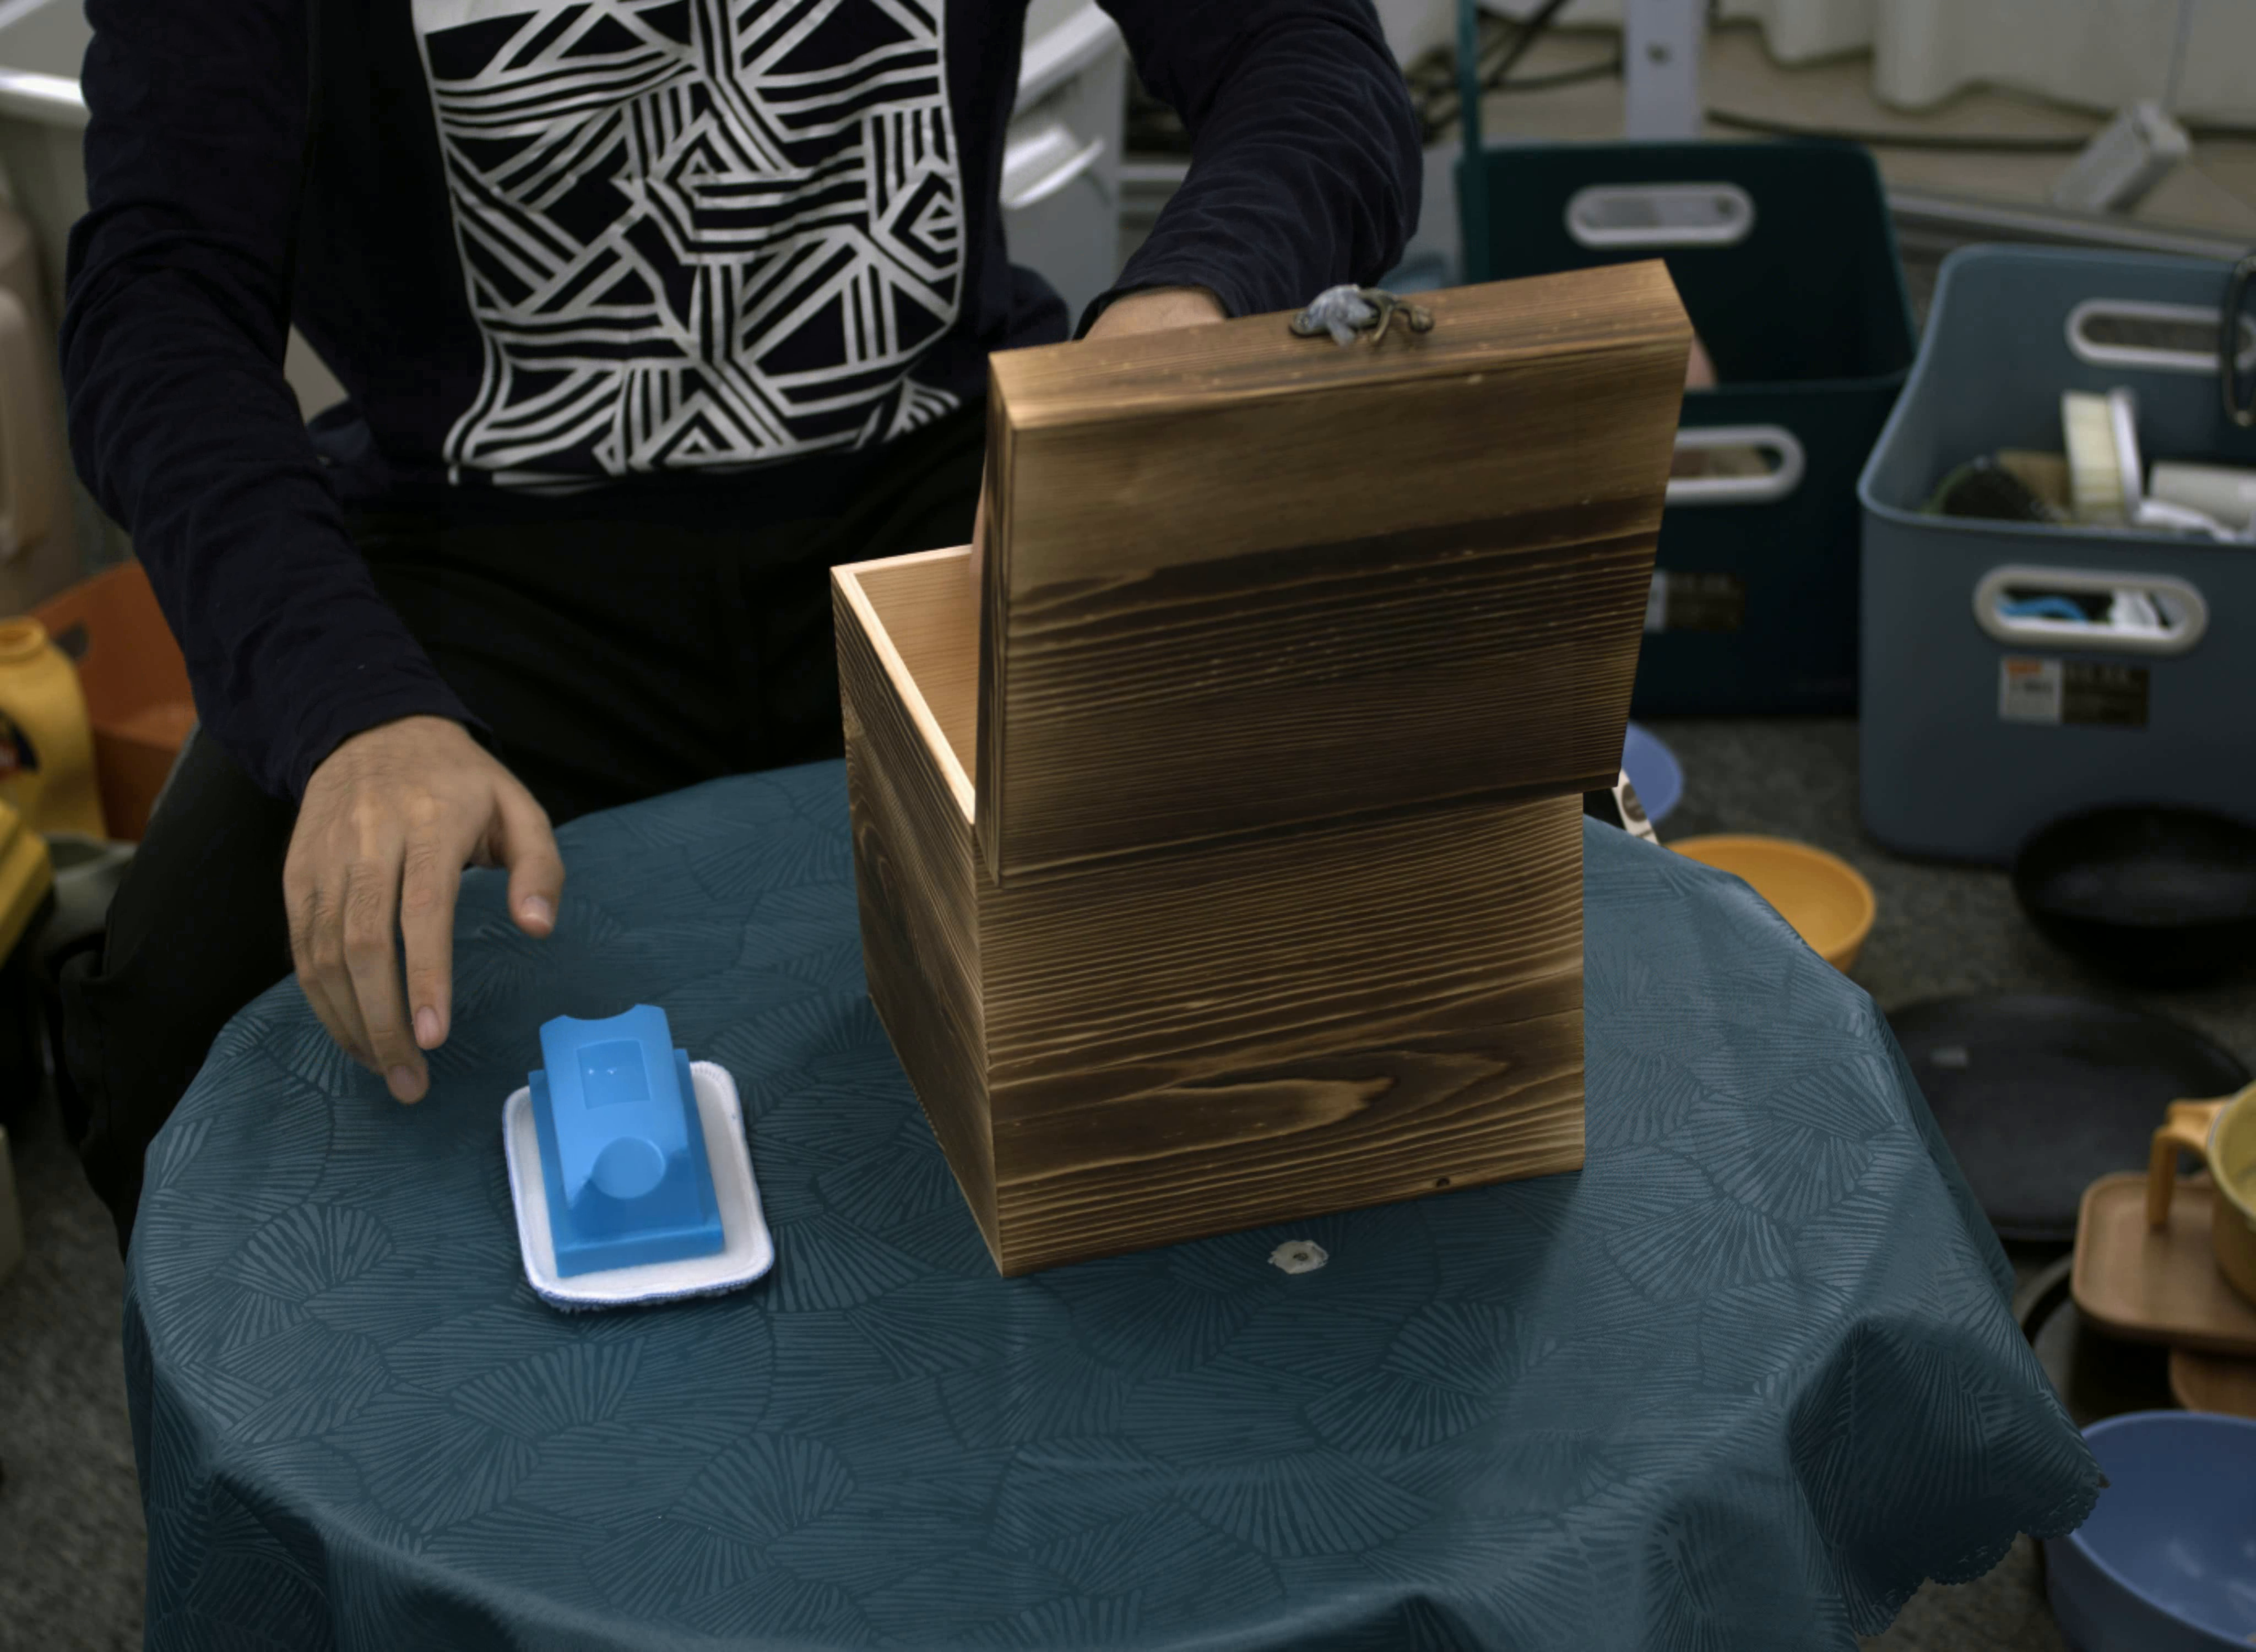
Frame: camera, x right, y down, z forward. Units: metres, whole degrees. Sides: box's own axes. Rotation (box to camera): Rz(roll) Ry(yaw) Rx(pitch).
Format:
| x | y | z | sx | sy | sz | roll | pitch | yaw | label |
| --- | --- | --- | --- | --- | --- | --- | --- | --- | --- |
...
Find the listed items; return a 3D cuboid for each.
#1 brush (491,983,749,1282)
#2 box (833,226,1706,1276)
| x | y | z | sx | sy | sz | roll | pitch | yaw | label |
| --- | --- | --- | --- | --- | --- | --- | --- | --- | --- |
| -0.168 | 0.097 | 1.858 | 0.083 | 0.055 | 0.146 | -3 | 29 | -7 | brush |
| 0.036 | -0.051 | 1.801 | 0.209 | 0.371 | 0.325 | -9 | 27 | -13 | box |
